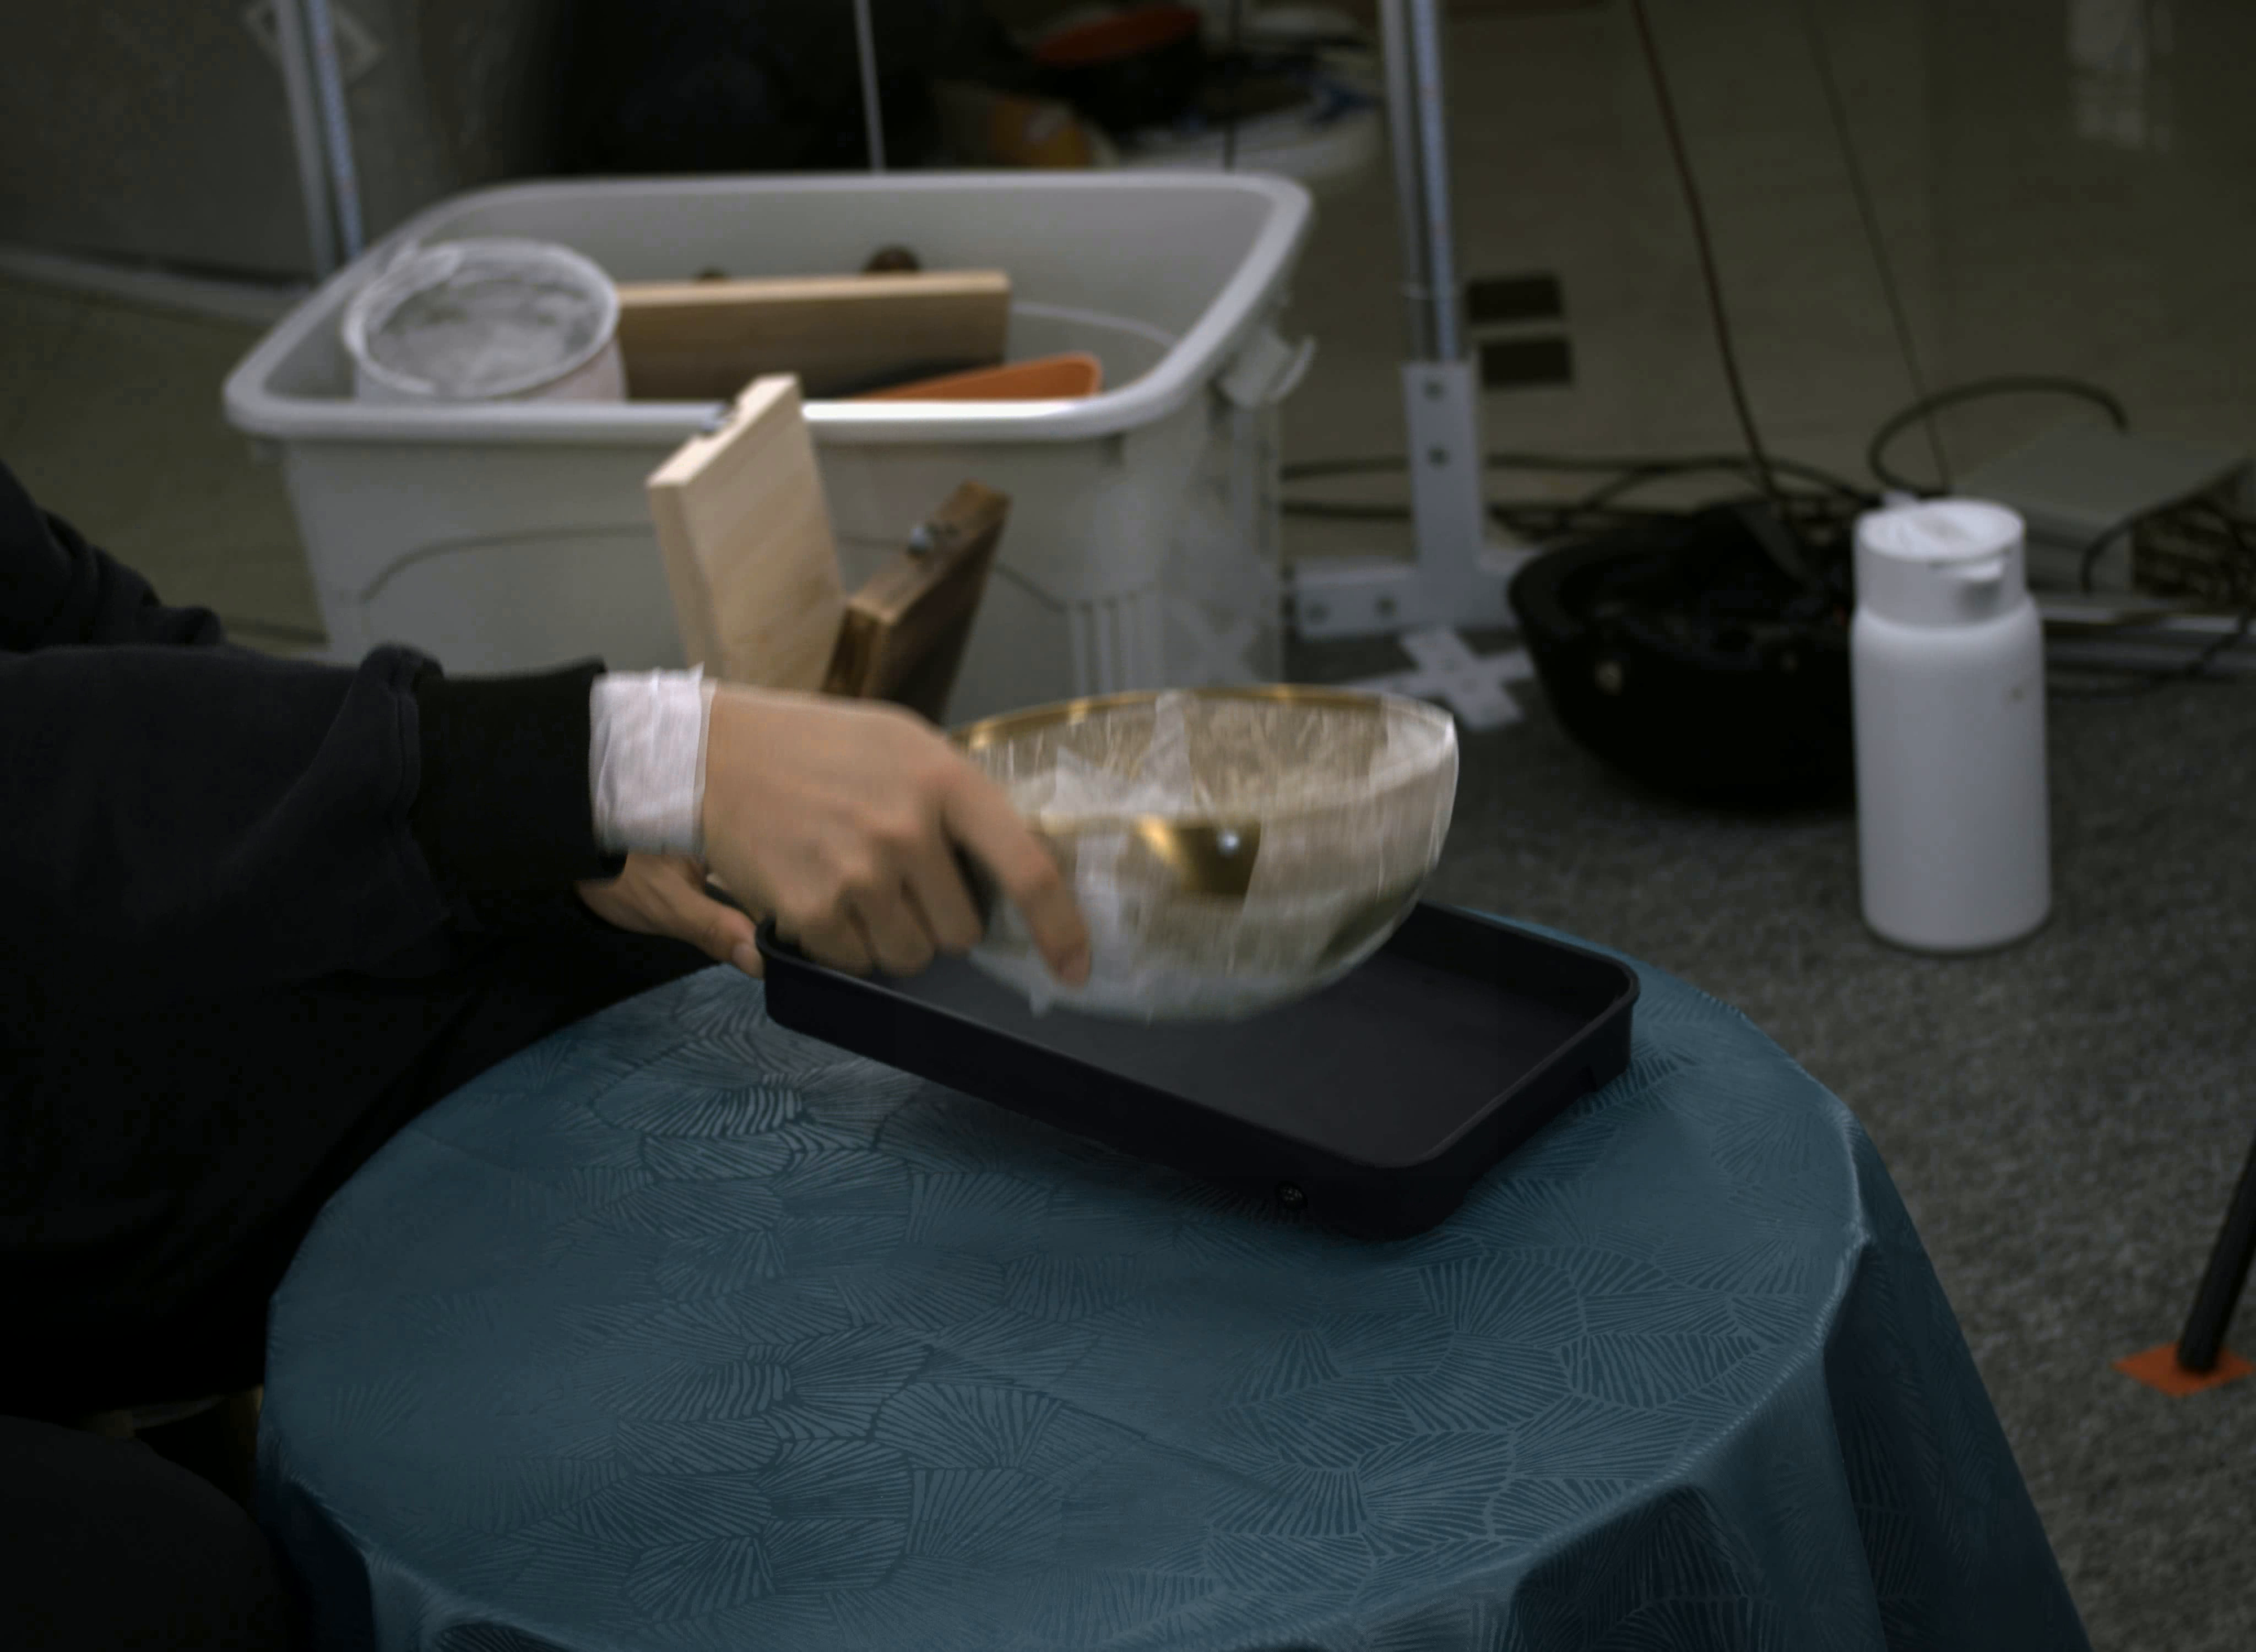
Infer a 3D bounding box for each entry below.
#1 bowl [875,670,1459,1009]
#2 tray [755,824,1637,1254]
[{"bbox_3d":[0.015,0.011,2.002,0.214,0.095,0.213,-5,14,1],"label":"bowl"},{"bbox_3d":[0.024,0.068,2.220,0.315,0.037,0.182,21,34,31],"label":"tray"}]
